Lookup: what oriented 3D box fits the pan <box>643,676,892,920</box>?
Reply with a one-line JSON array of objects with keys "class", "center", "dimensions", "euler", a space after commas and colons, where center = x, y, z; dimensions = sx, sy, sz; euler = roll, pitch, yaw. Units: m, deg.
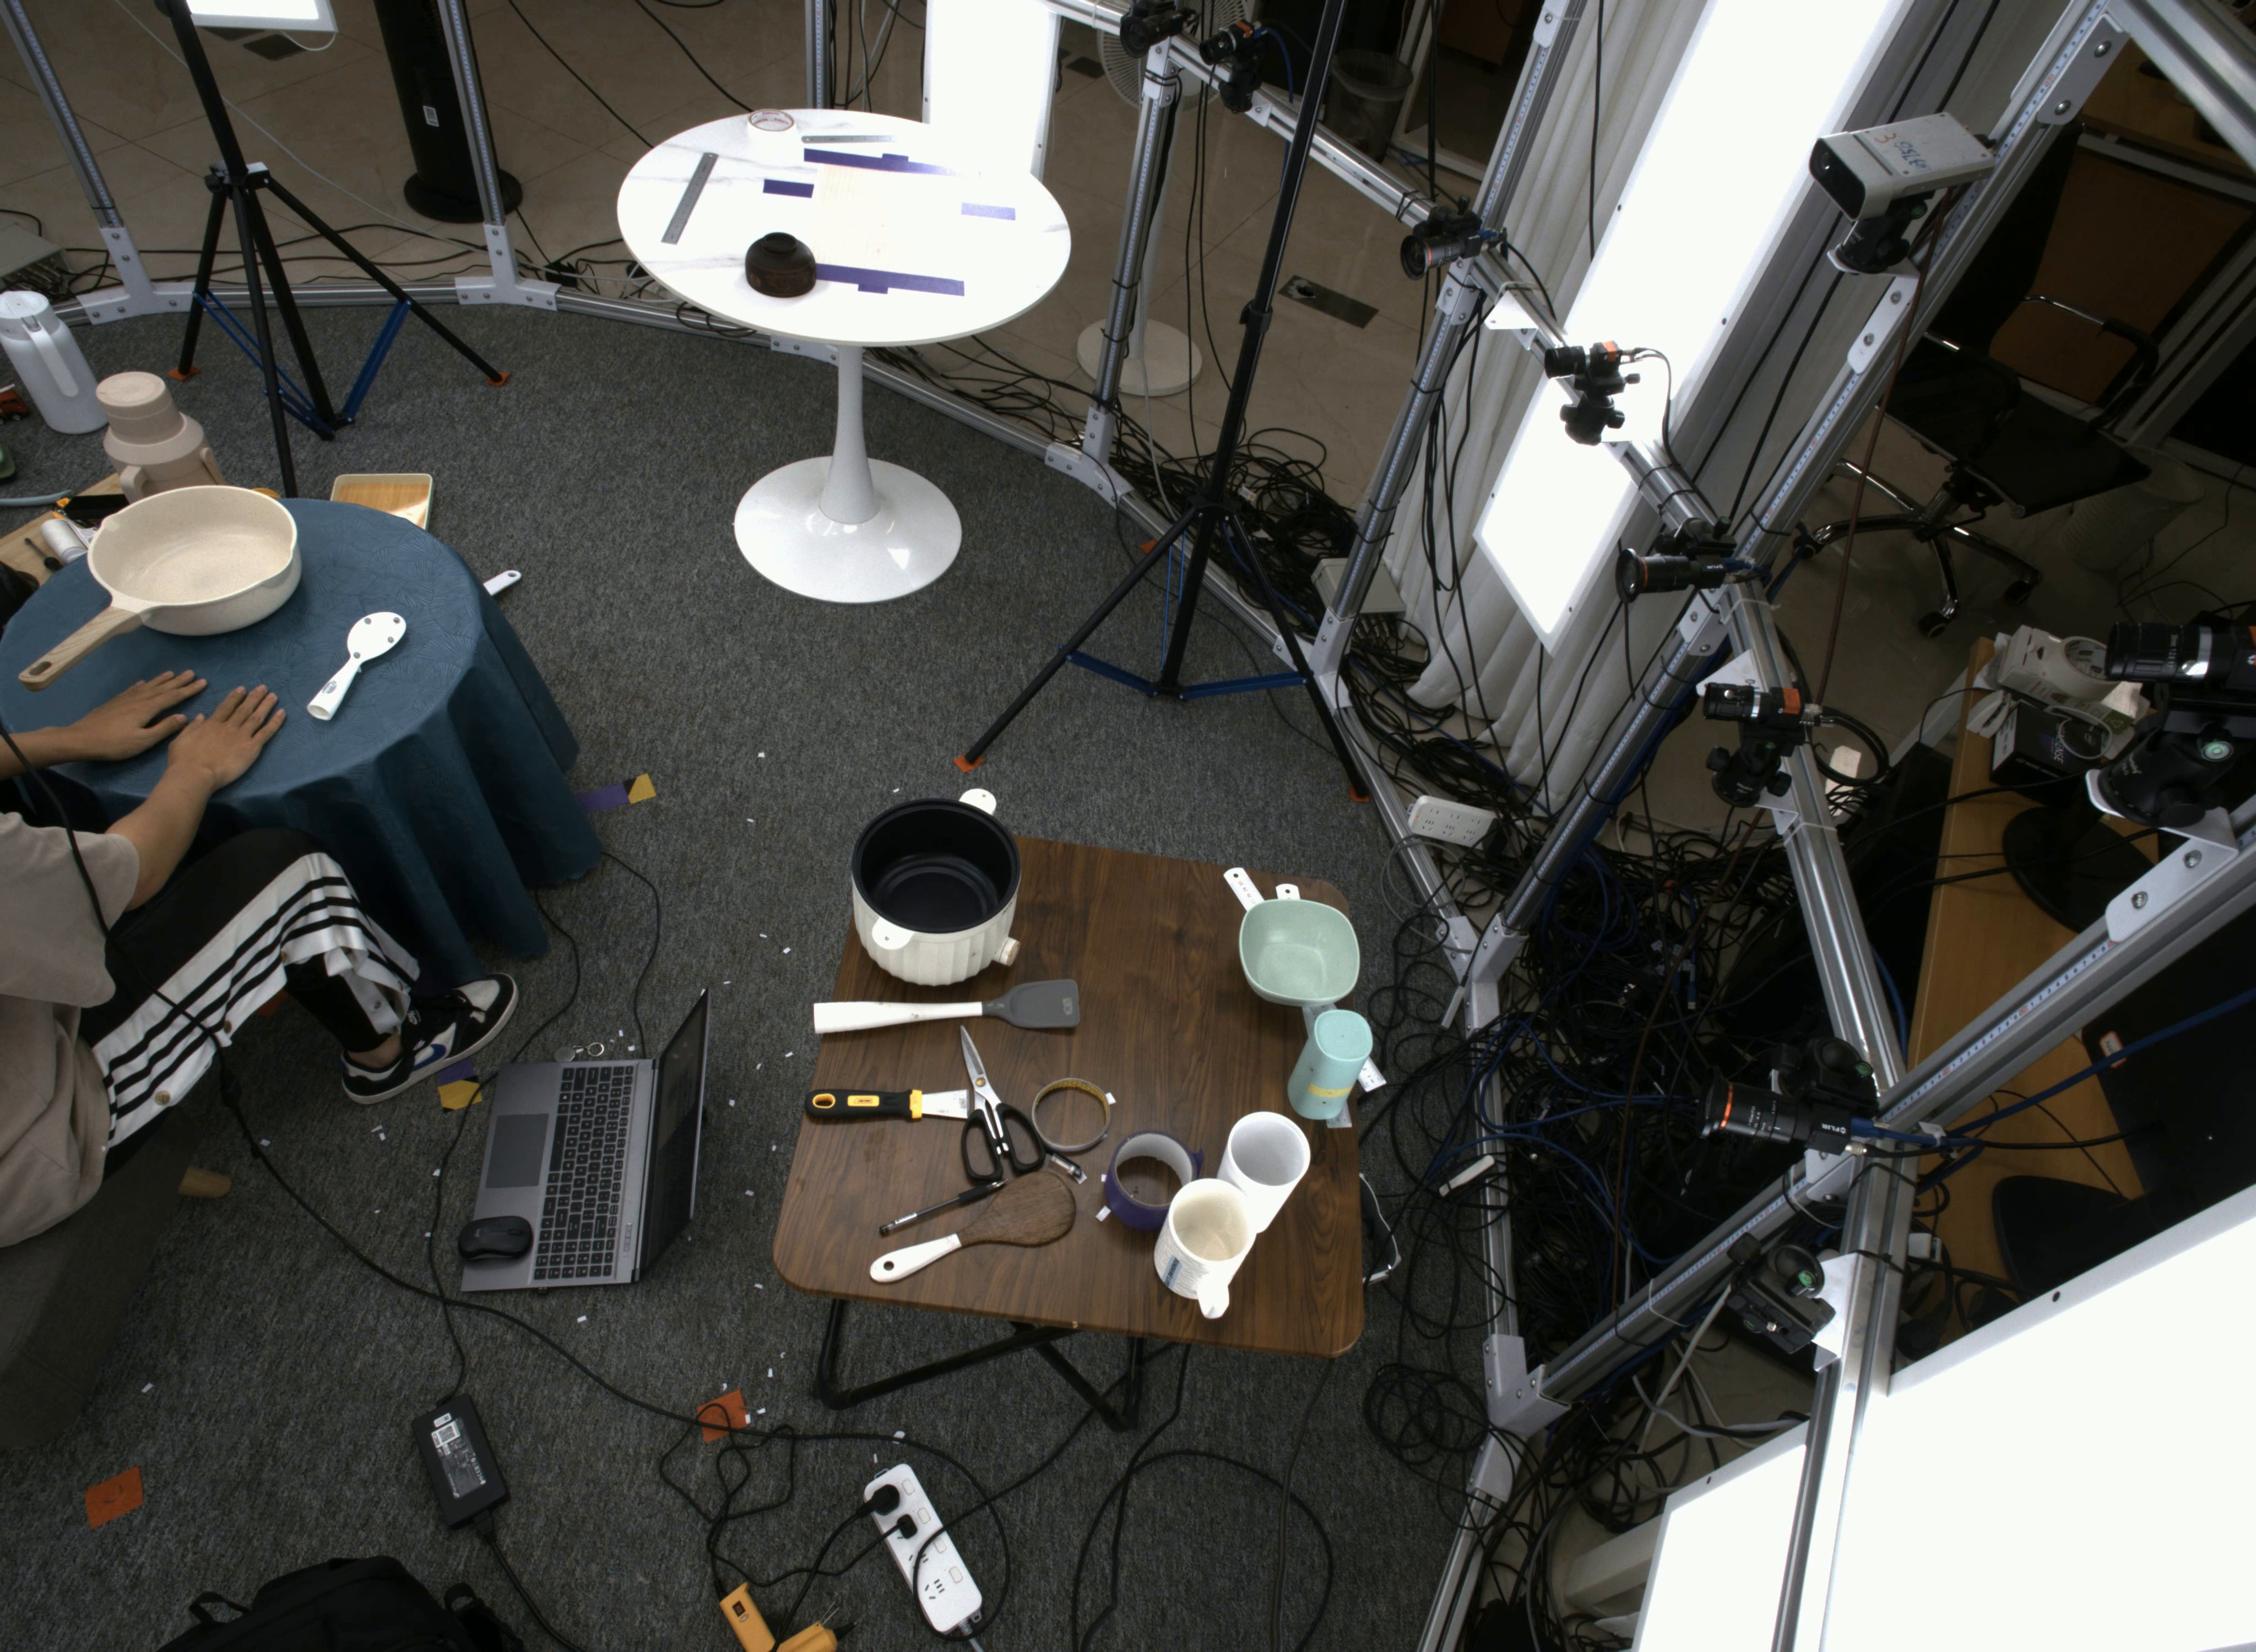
[{"class": "pan", "center": [-0.482, -0.021, 1.677], "dimensions": [0.260, 0.104, 0.432], "euler": [28, 53, 6]}]

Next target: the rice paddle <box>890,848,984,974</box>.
[{"class": "rice paddle", "center": [-0.247, 0.101, 1.681], "dimensions": [0.068, 0.030, 0.203], "euler": [24, 52, 3]}]
